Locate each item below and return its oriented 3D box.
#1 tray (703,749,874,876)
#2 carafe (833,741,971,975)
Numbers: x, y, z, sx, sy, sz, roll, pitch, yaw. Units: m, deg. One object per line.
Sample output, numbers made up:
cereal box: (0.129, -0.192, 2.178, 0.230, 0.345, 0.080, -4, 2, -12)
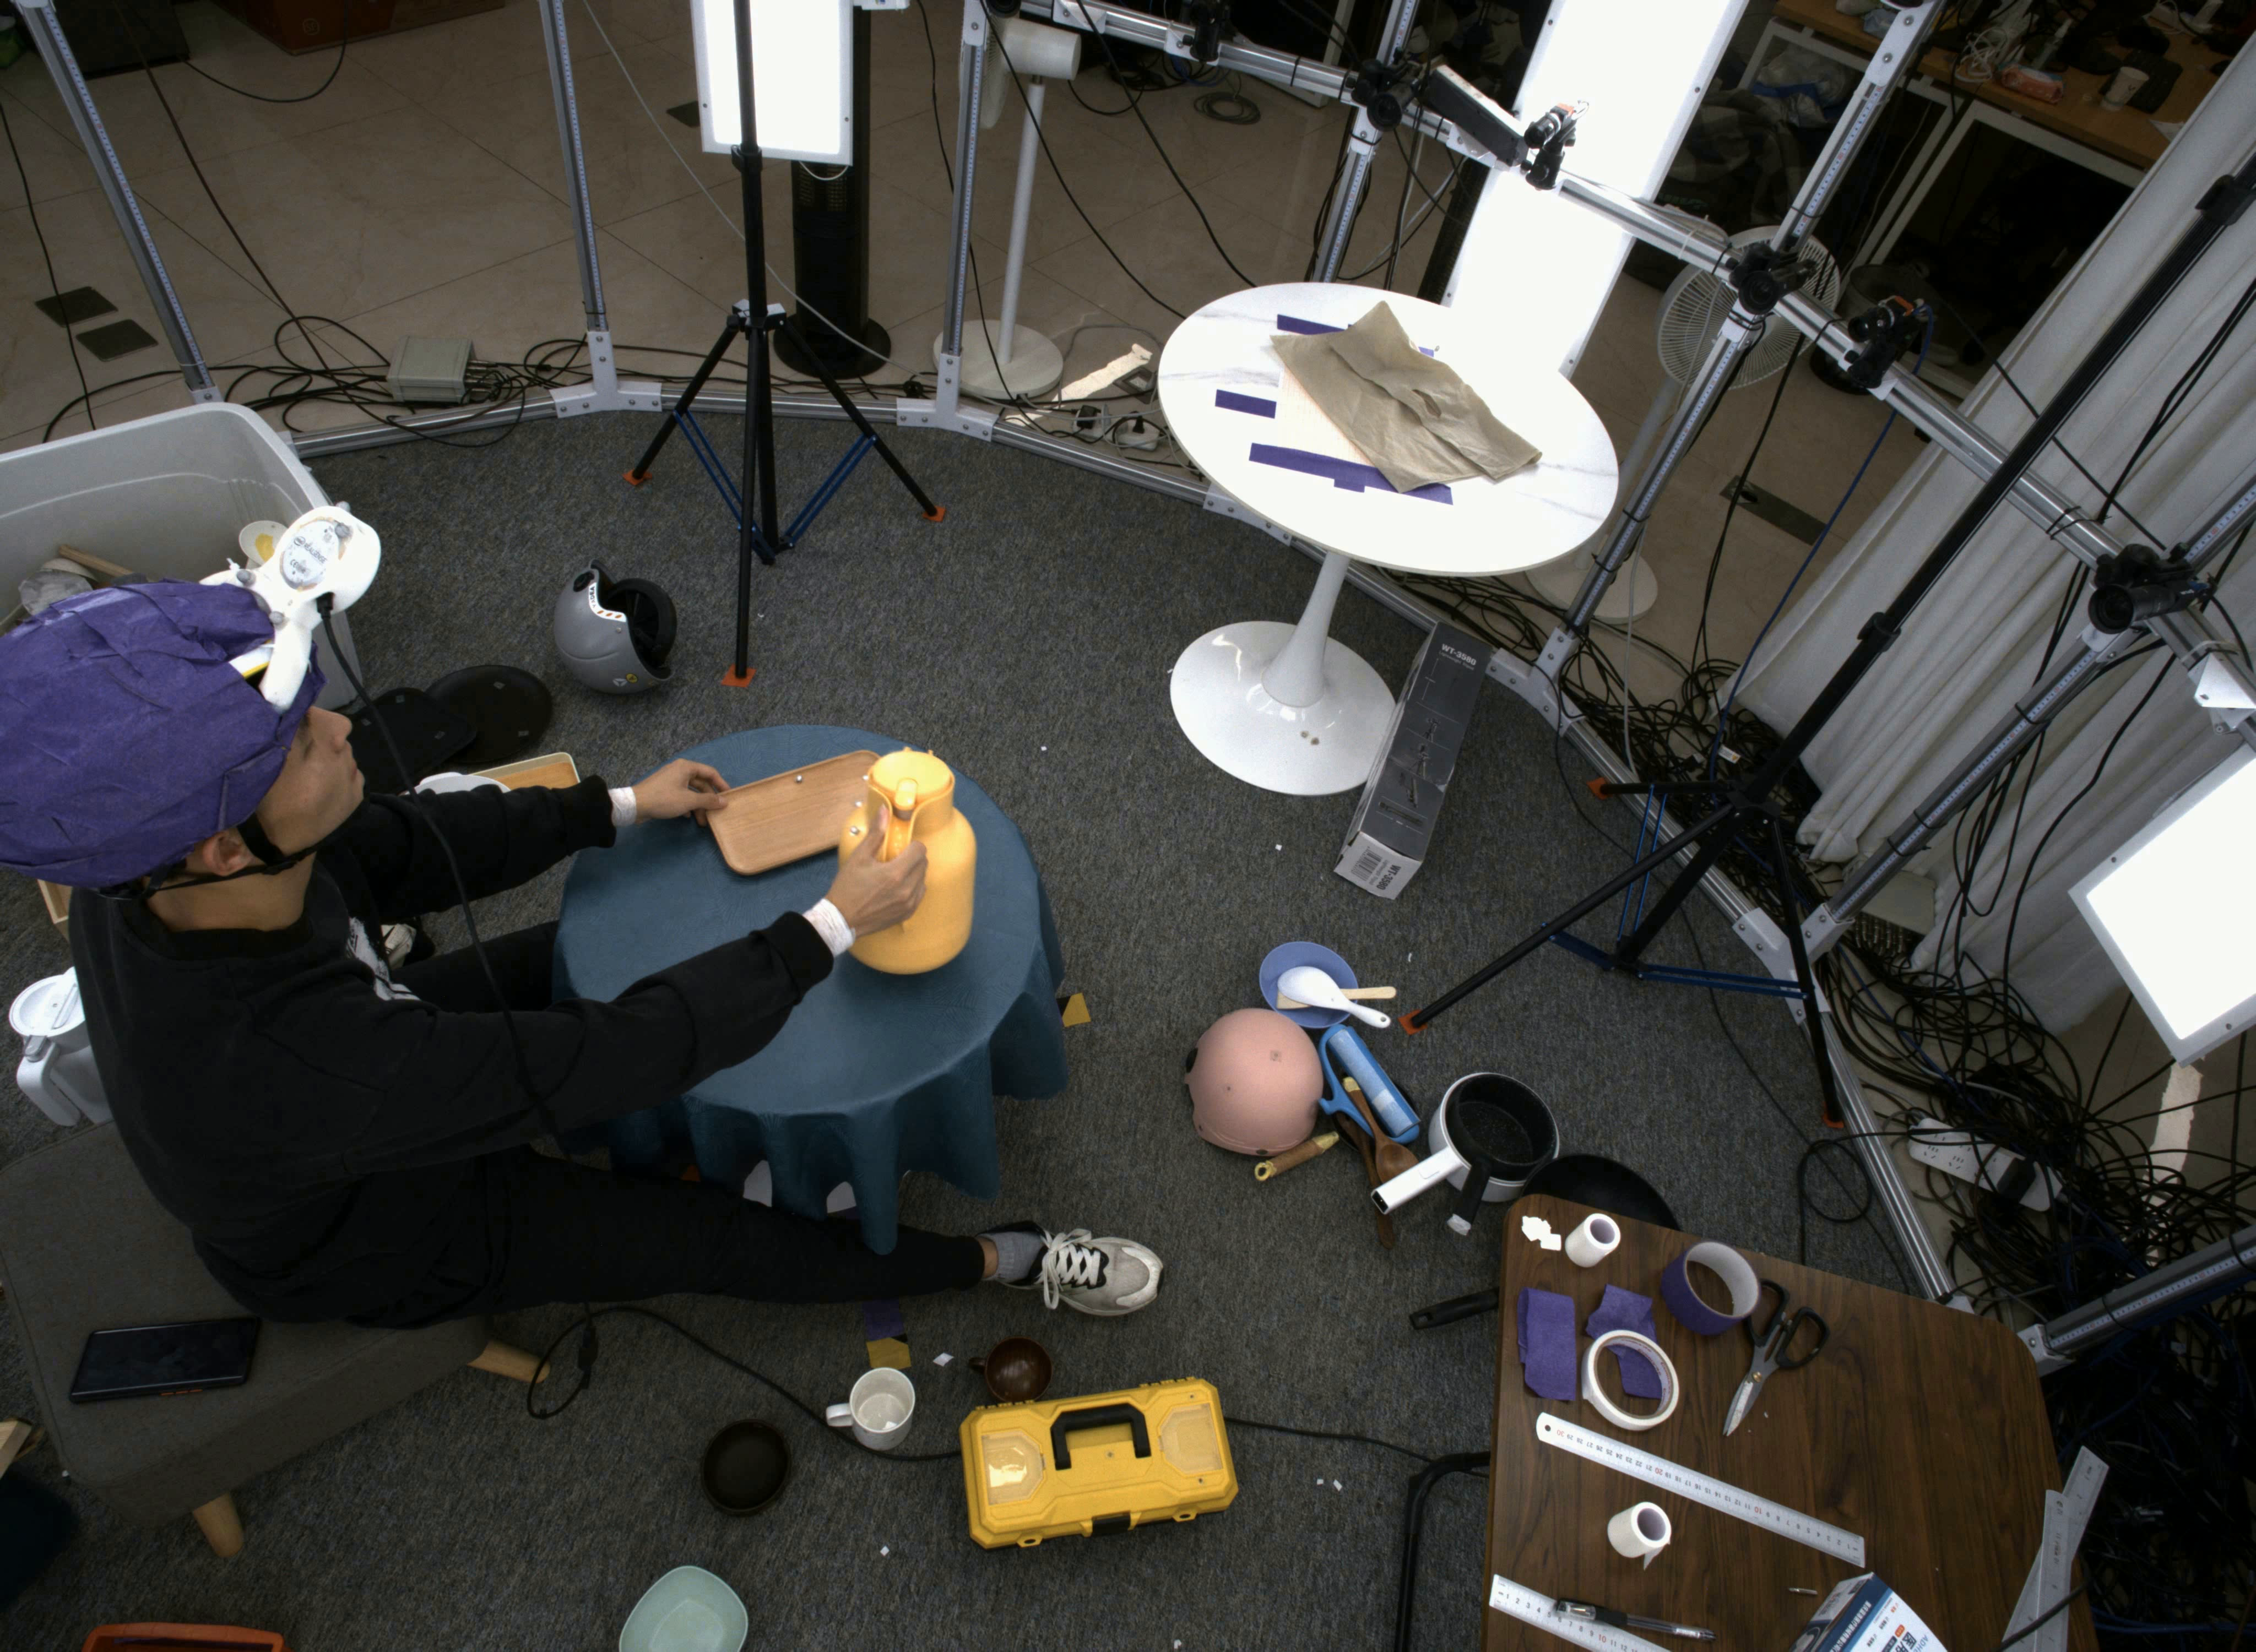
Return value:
tray: (-0.426, -0.020, 1.713, 0.252, 0.023, 0.128, -20, 66, -27)
carafe: (-0.266, 0.043, 1.509, 0.162, 0.268, 0.198, 6, 32, -2)
